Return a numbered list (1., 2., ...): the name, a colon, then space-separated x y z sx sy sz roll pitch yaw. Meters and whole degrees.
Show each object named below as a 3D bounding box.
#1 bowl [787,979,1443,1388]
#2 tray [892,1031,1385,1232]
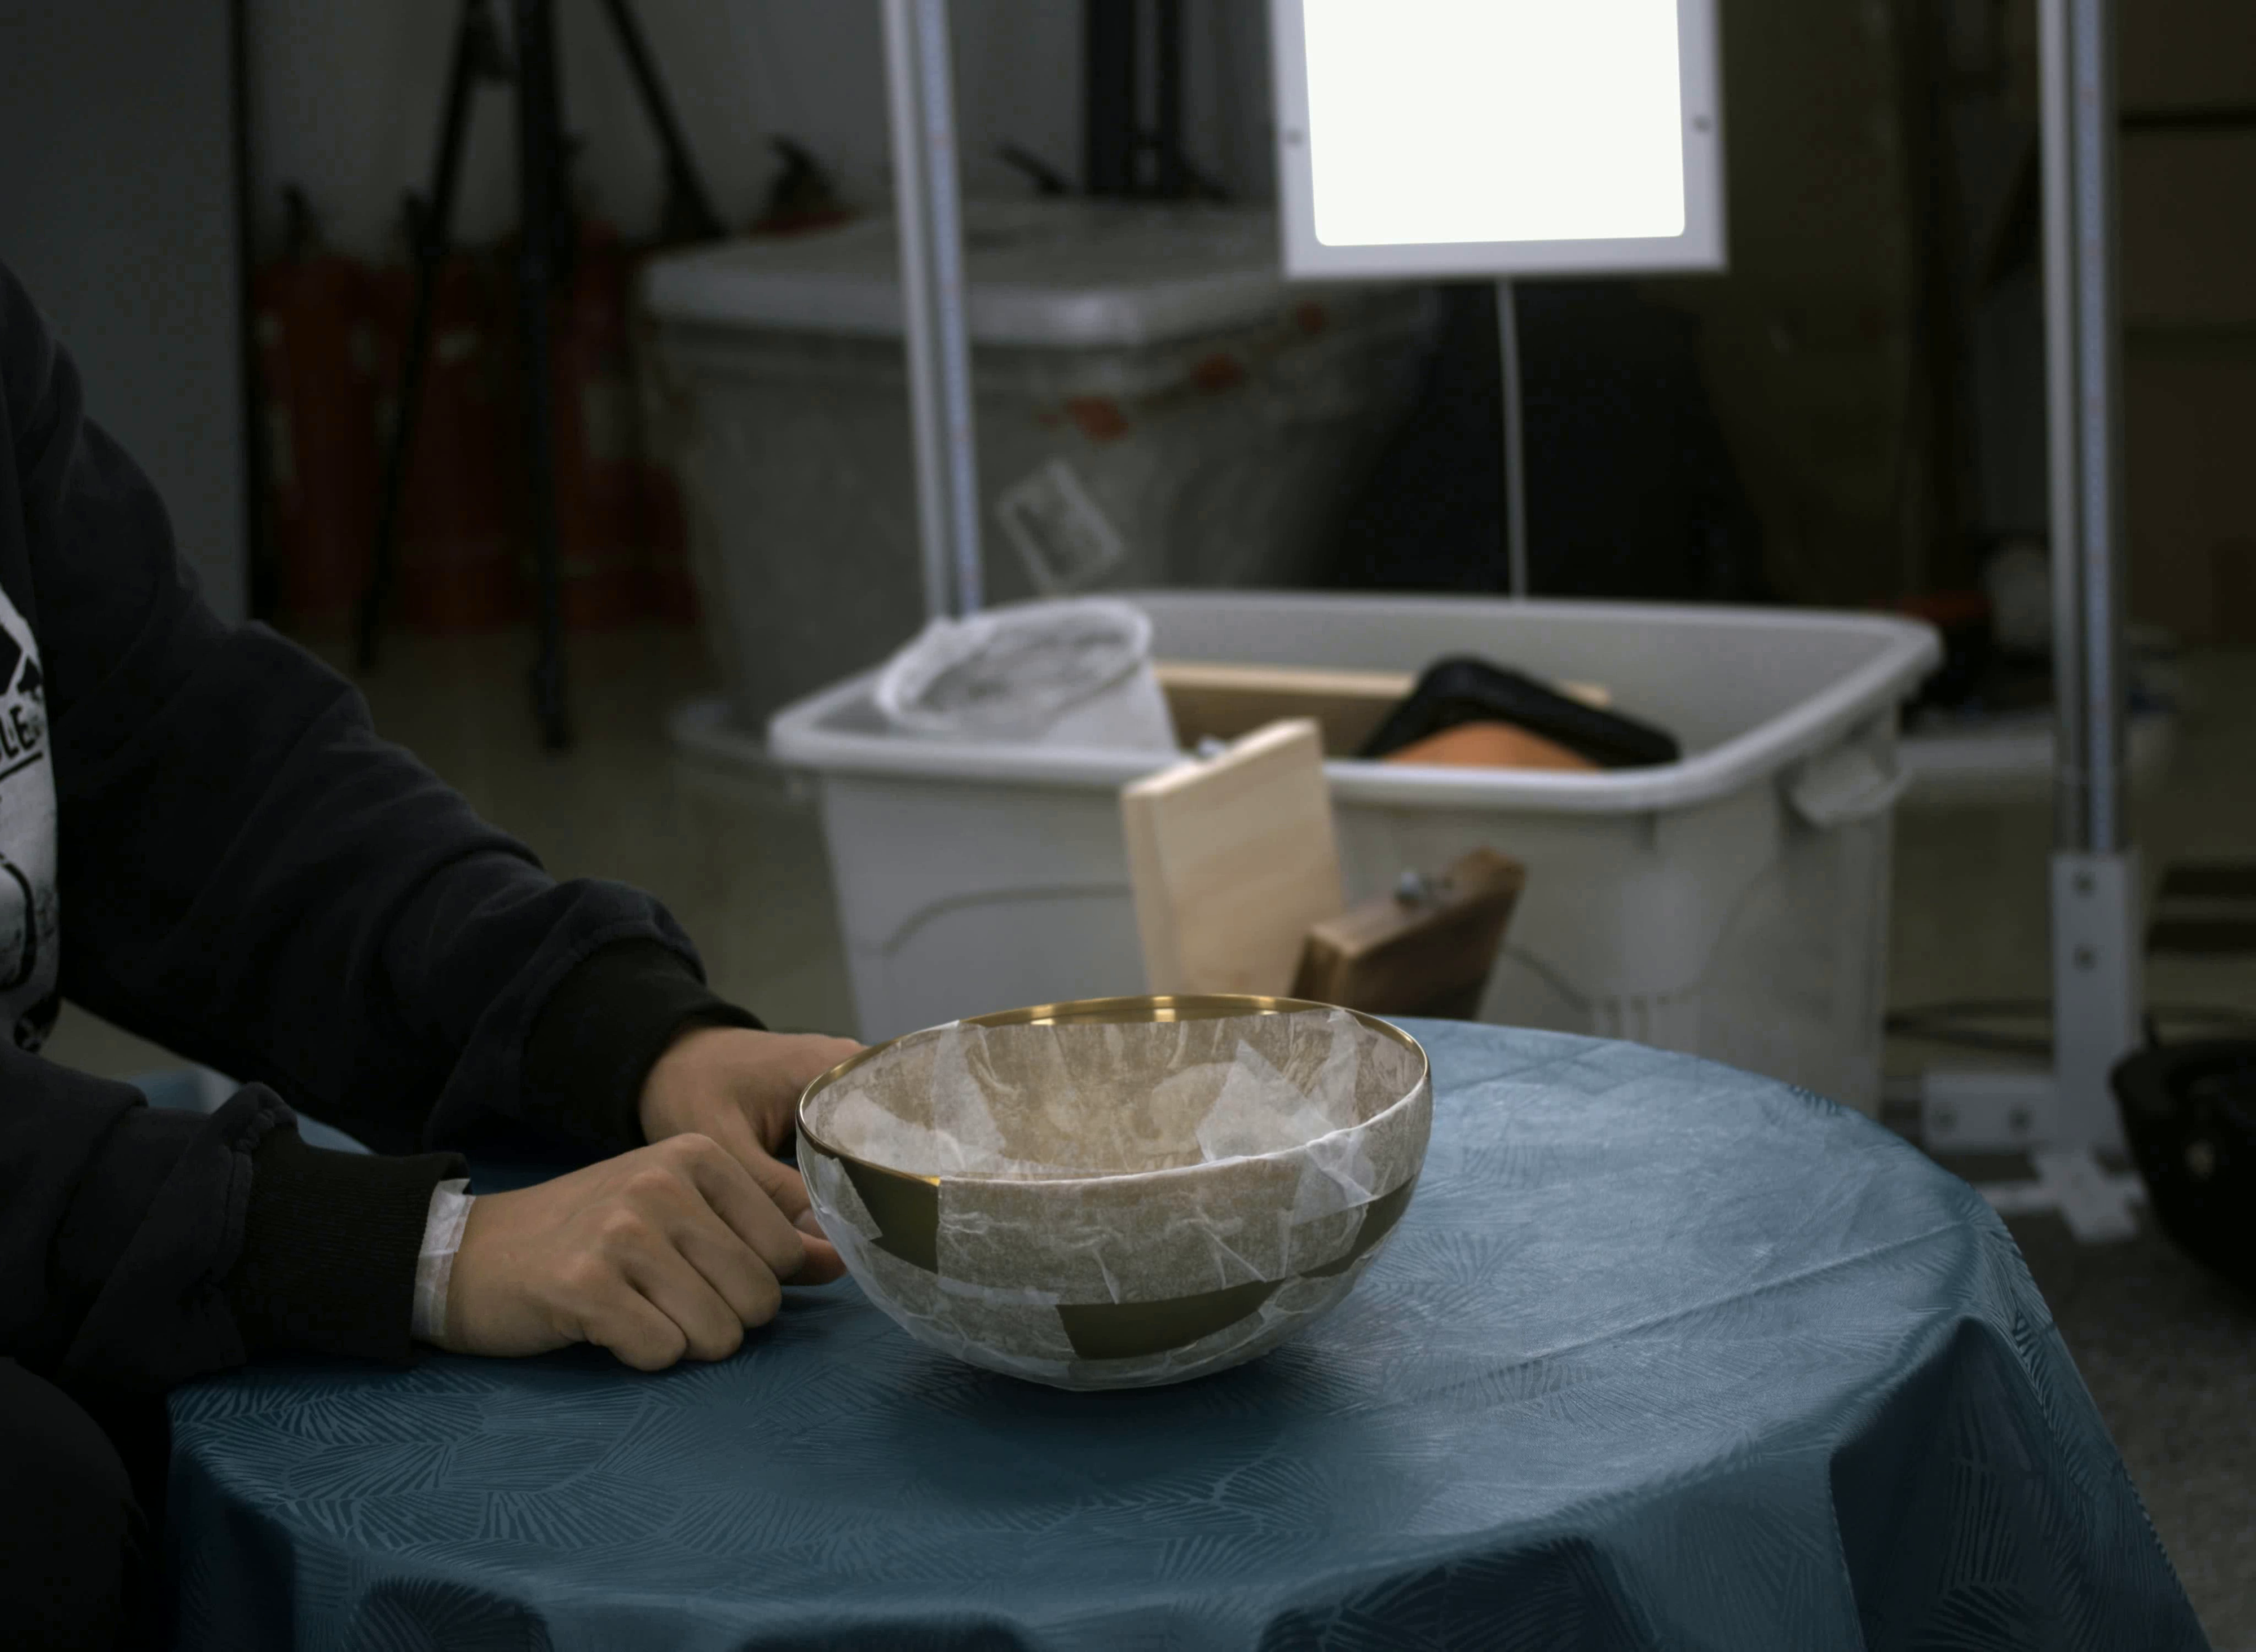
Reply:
1. bowl: 0.000 0.120 1.727 0.214 0.095 0.214 -6 15 0
2. tray: 0.002 0.107 1.946 0.099 0.020 0.235 -16 19 -30
